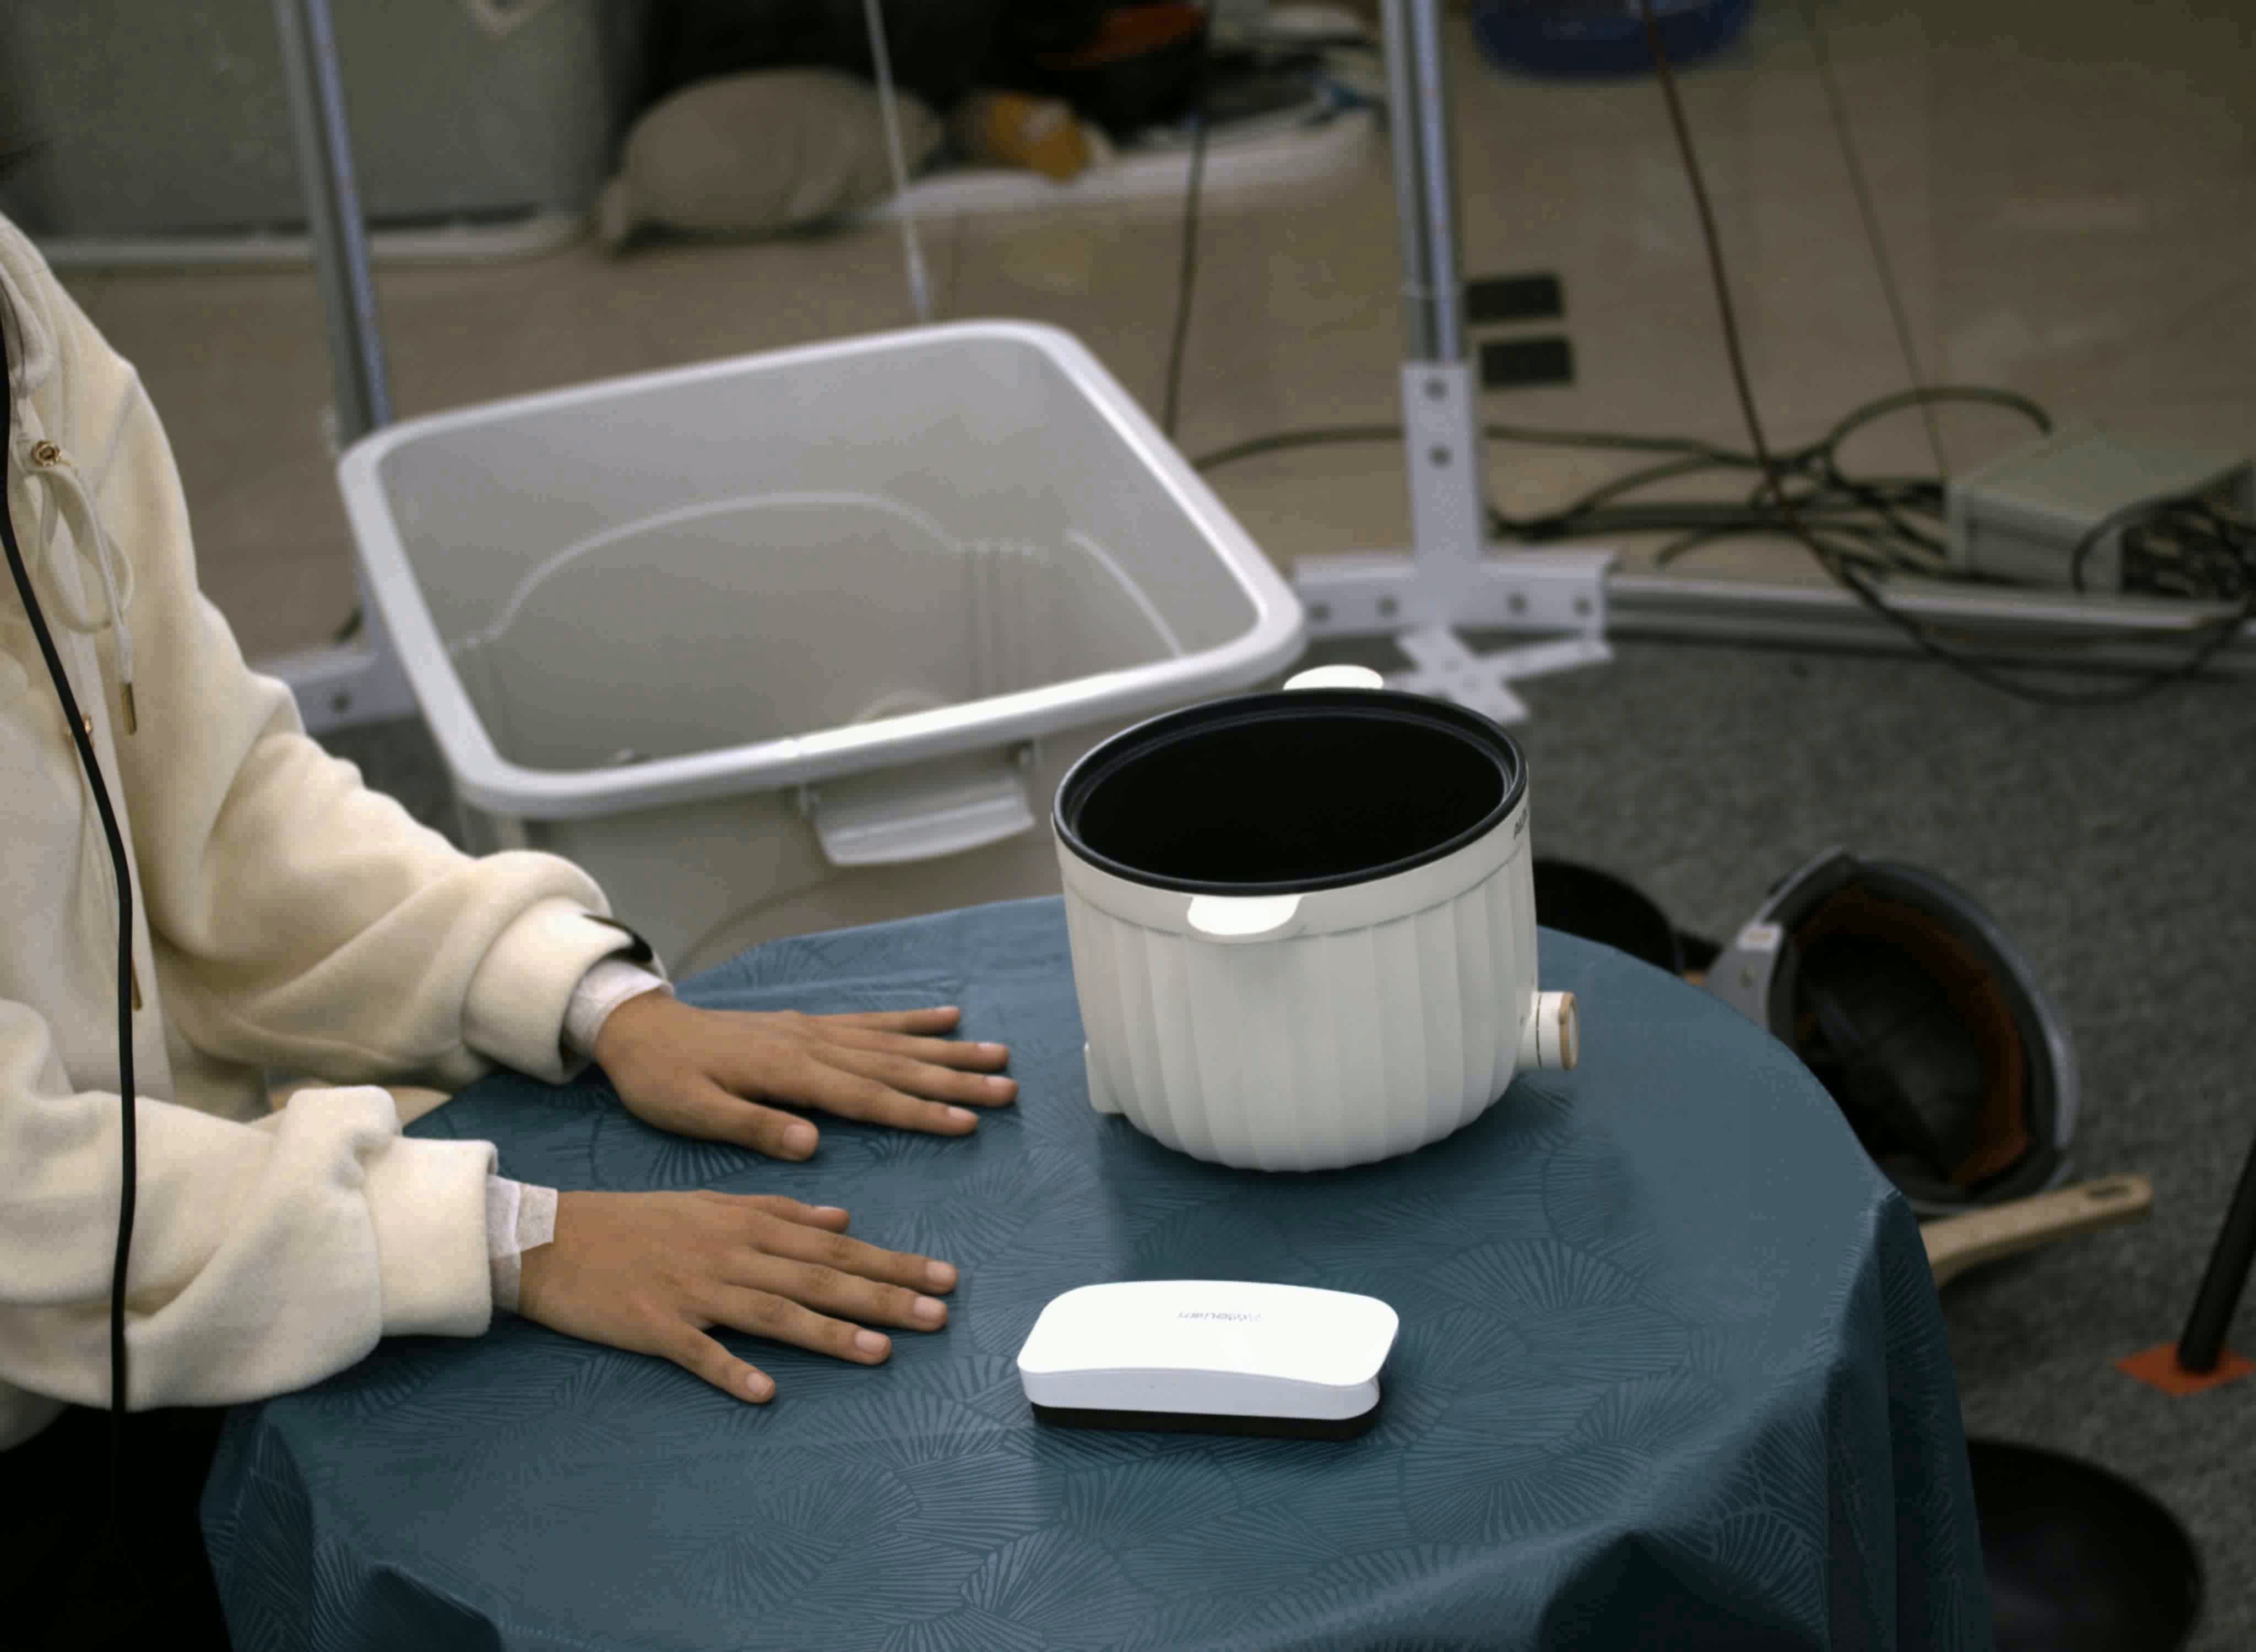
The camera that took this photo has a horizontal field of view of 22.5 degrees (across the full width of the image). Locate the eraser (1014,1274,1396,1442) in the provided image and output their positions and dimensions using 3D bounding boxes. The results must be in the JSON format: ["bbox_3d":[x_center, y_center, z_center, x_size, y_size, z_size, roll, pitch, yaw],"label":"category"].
[{"bbox_3d":[0.028,0.188,2.000,0.131,0.035,0.062,1,24,16],"label":"eraser"}]

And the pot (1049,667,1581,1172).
[{"bbox_3d":[0.073,0.043,2.168,0.190,0.145,0.237,-4,26,14],"label":"pot"}]
